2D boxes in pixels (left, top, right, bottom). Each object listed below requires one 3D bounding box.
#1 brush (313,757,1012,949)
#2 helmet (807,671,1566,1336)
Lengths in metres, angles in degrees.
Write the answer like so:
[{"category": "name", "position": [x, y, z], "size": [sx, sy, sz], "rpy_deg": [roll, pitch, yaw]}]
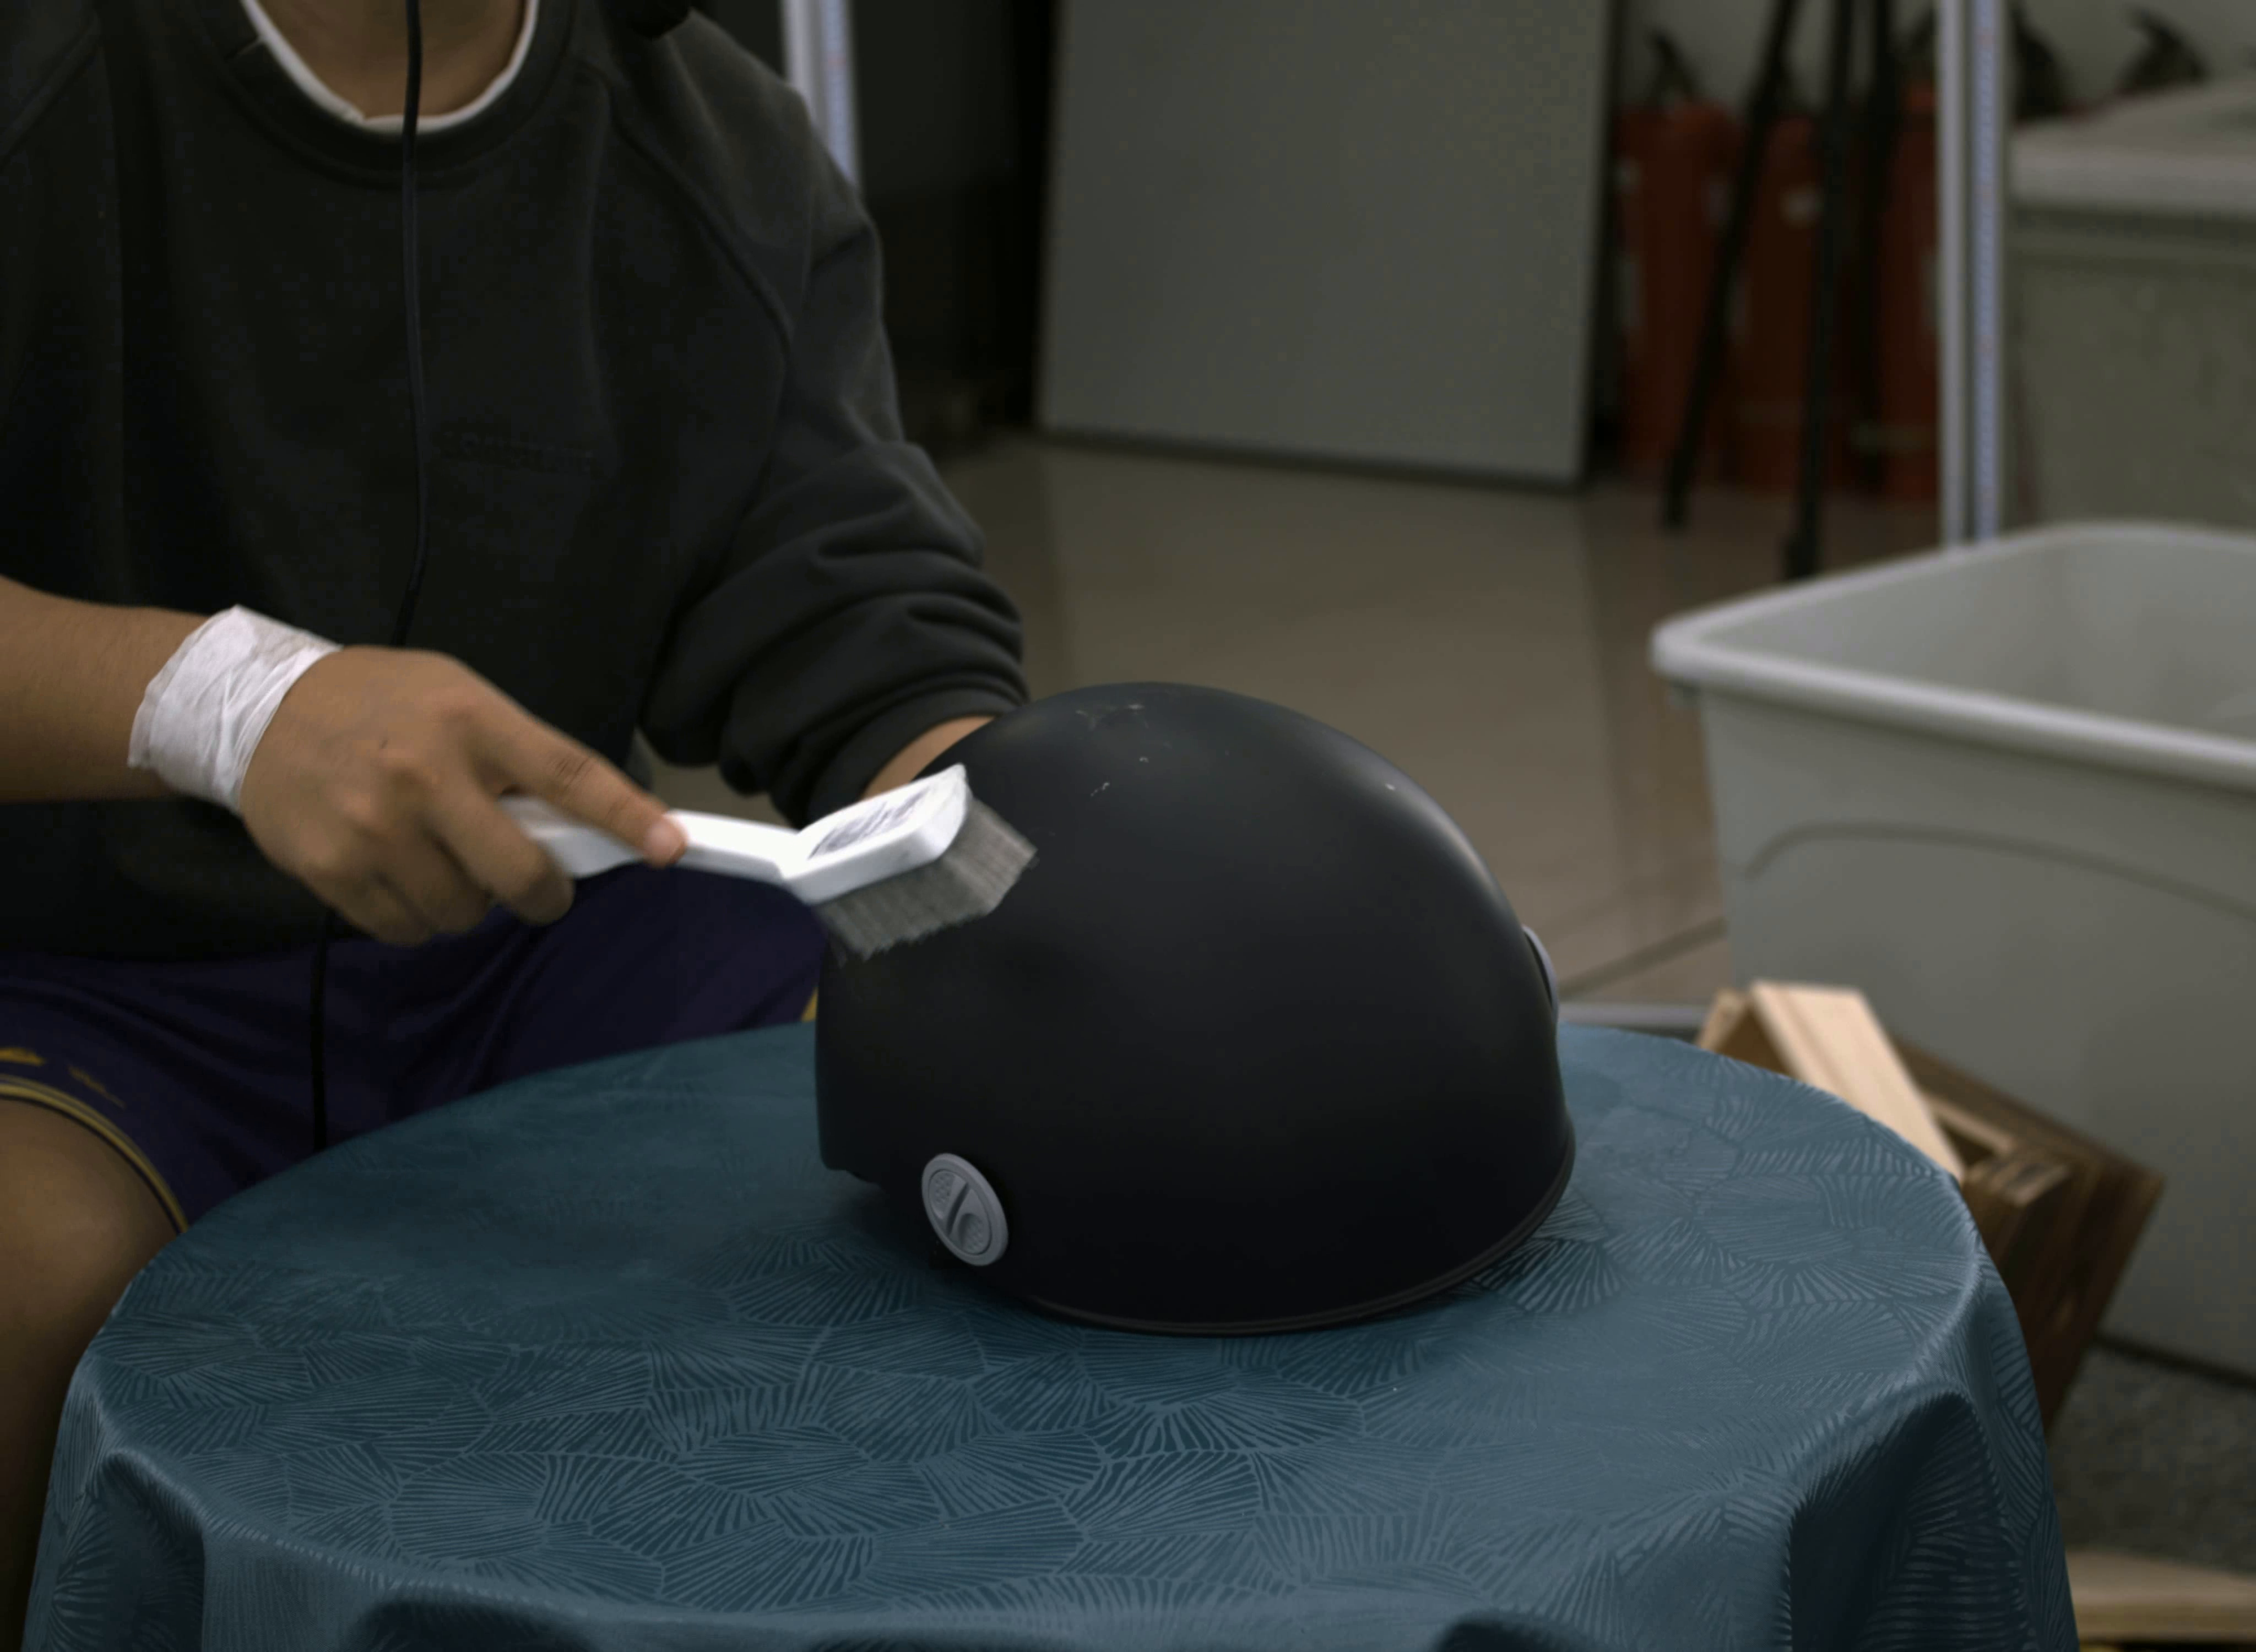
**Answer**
[{"category": "brush", "position": [-0.144, 0.015, 1.648], "size": [0.244, 0.050, 0.034], "rpy_deg": [-5, 35, 32]}, {"category": "helmet", "position": [0.012, 0.042, 1.717], "size": [0.226, 0.168, 0.276], "rpy_deg": [-20, 24, -23]}]
